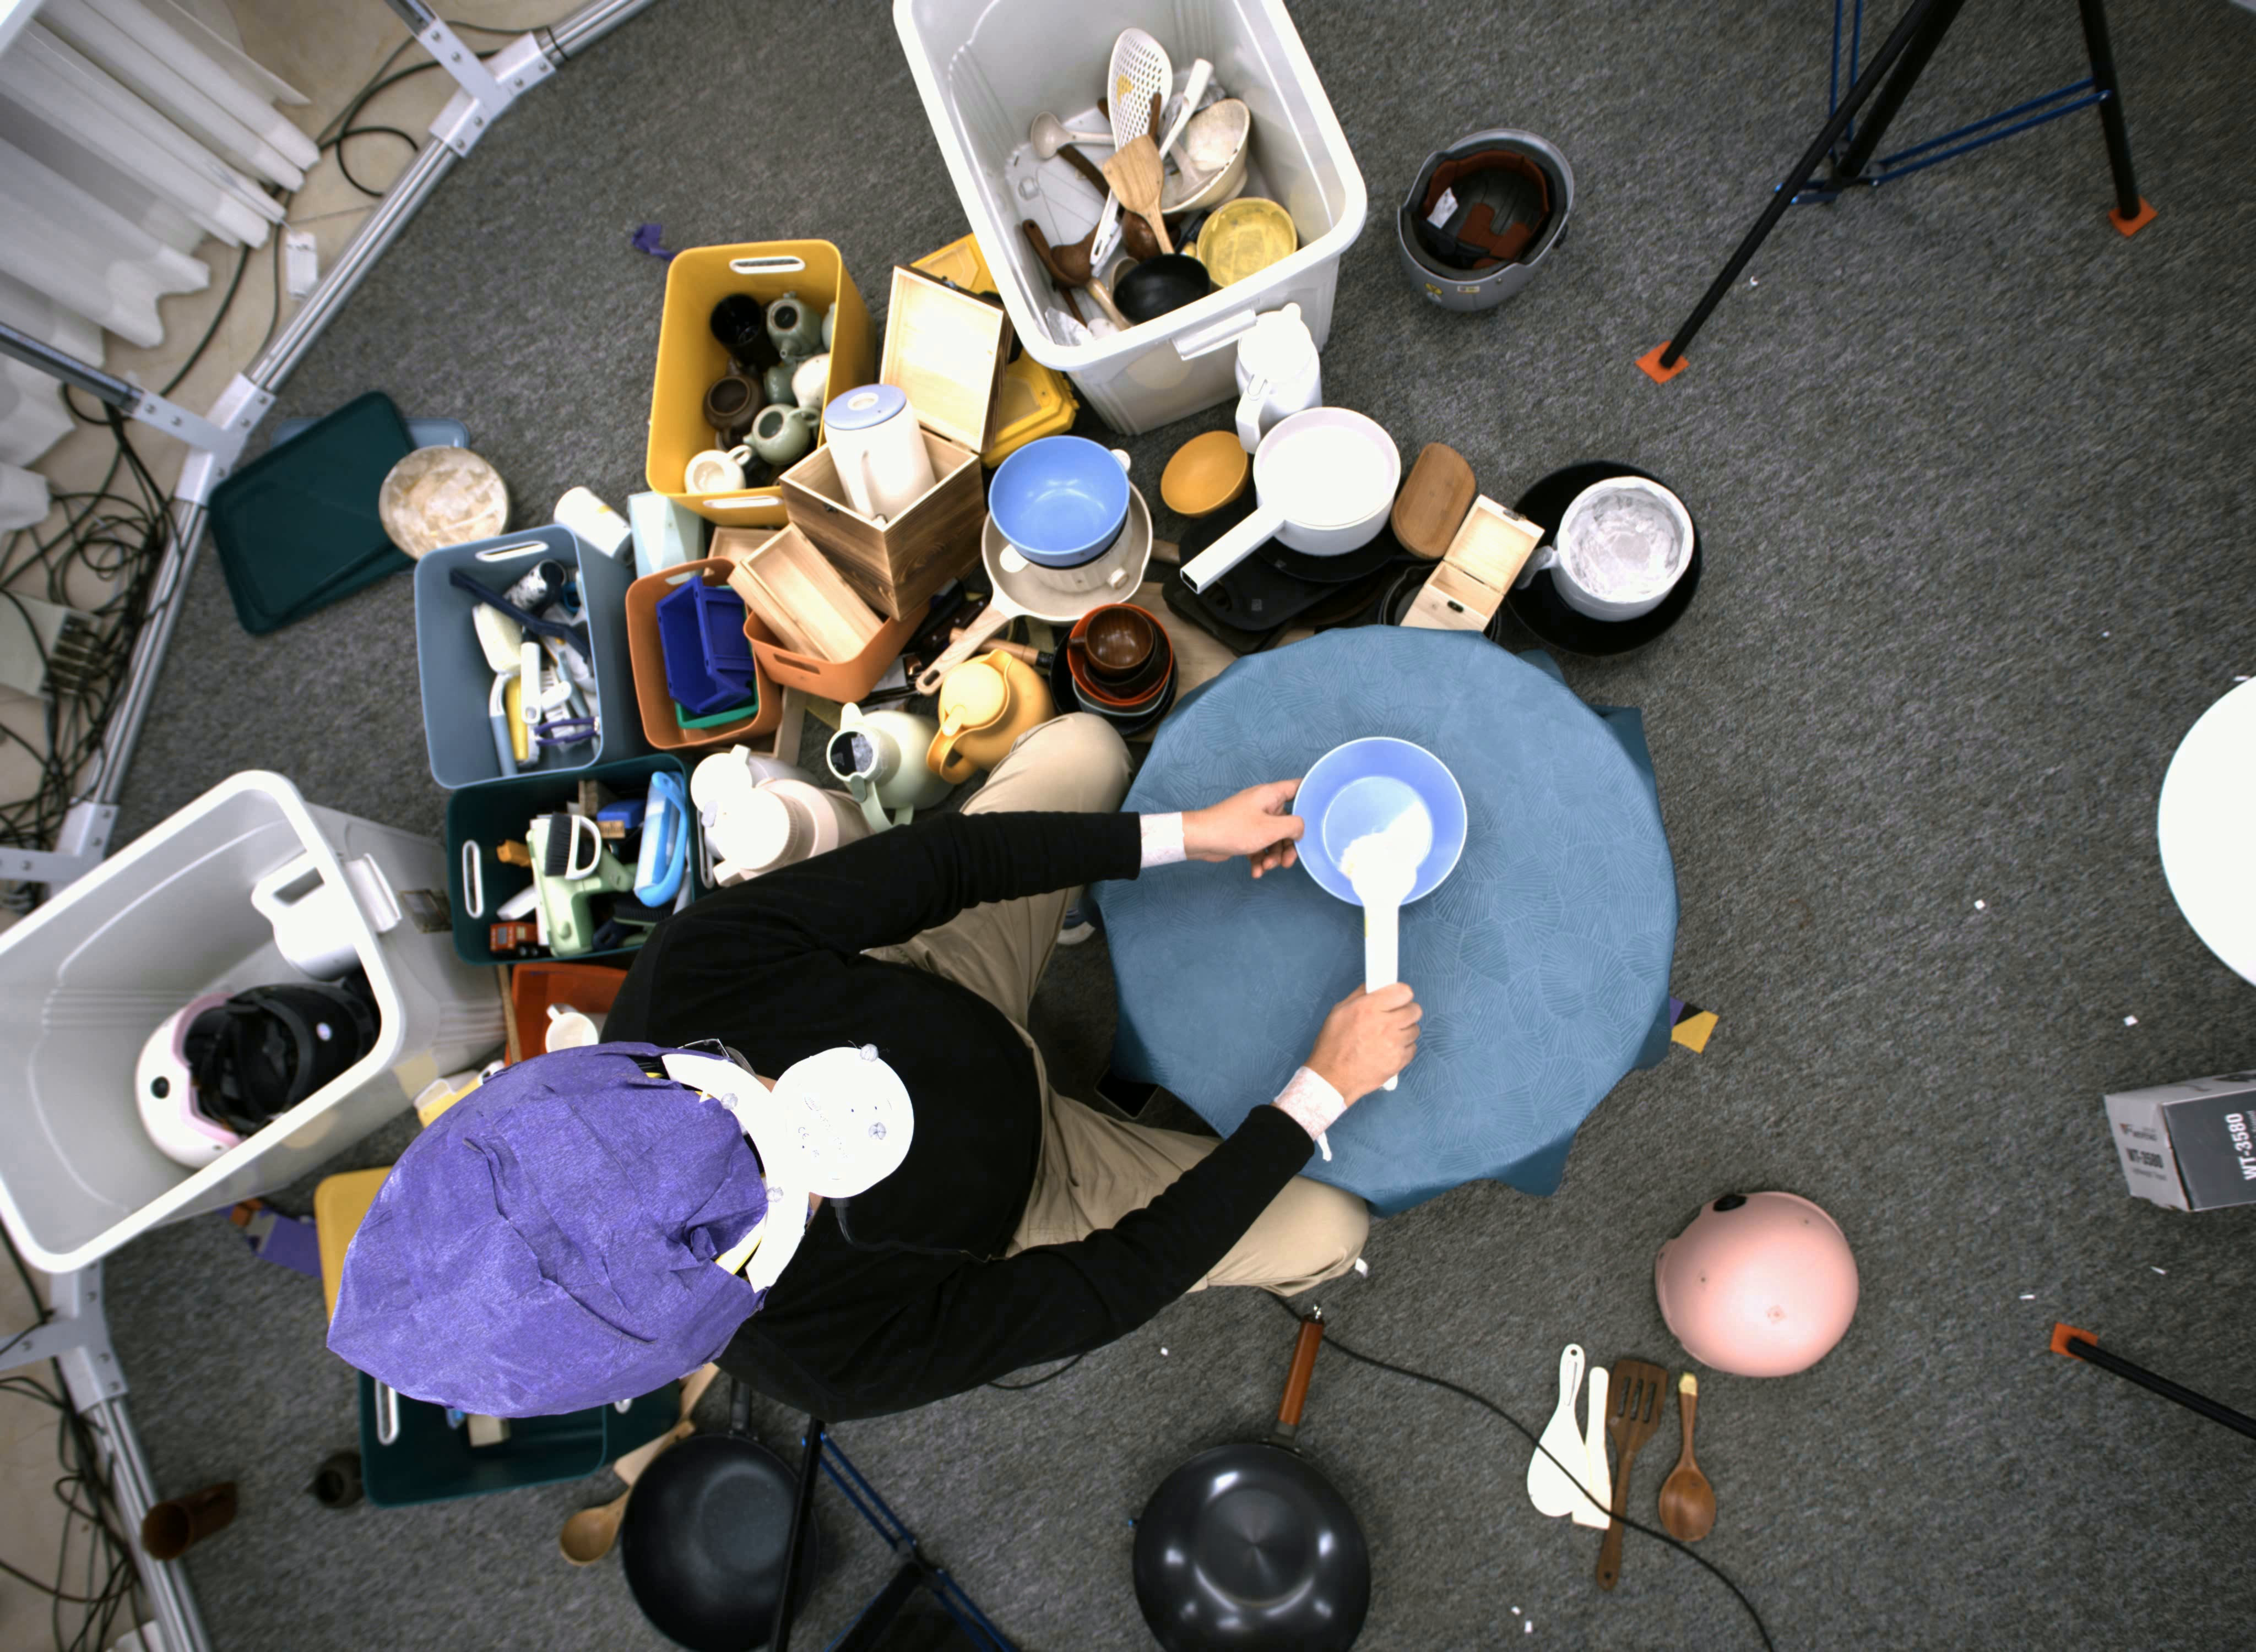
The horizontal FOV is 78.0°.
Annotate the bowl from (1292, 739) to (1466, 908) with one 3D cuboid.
[{"bbox_3d":[0.258,0.001,1.426,0.177,0.070,0.174,-2,82,10],"label":"bowl"}]

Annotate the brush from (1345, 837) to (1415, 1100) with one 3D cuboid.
[{"bbox_3d":[0.250,0.139,1.375,0.068,0.055,0.270,-1,108,3],"label":"brush"}]
